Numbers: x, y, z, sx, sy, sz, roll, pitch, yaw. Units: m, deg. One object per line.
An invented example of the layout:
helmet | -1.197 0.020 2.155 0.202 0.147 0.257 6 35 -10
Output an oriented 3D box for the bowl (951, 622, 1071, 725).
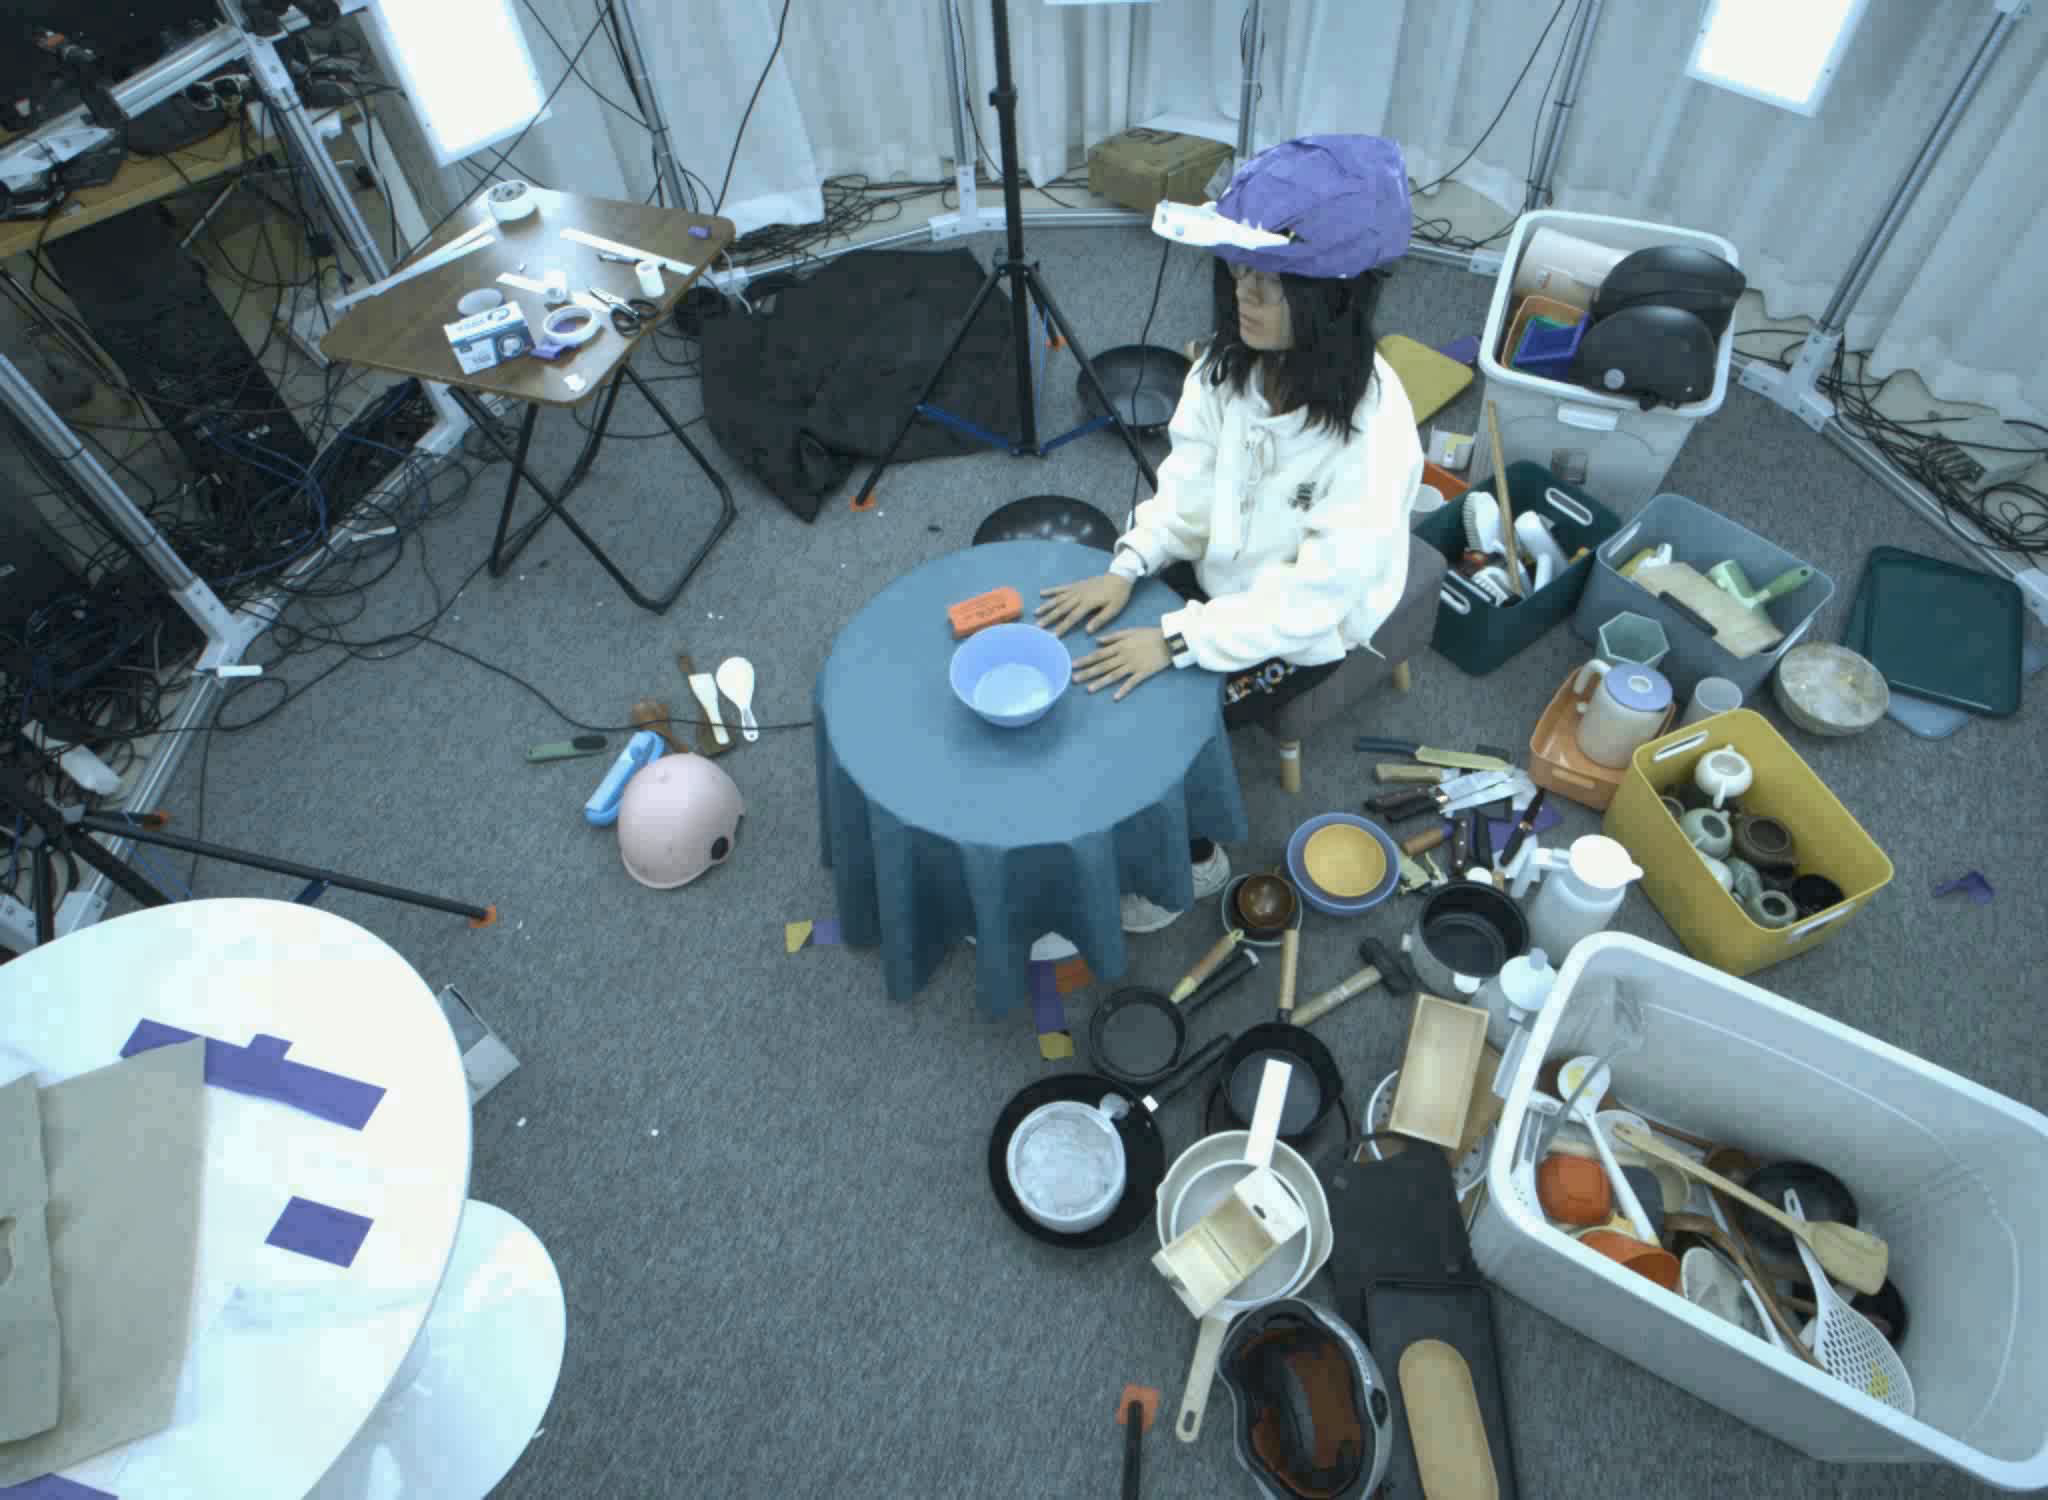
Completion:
bowl | -0.017 -0.102 1.817 0.176 0.071 0.174 -1 55 2

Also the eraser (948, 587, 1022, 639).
eraser | -0.063 -0.216 1.928 0.109 0.023 0.058 -21 54 -12
